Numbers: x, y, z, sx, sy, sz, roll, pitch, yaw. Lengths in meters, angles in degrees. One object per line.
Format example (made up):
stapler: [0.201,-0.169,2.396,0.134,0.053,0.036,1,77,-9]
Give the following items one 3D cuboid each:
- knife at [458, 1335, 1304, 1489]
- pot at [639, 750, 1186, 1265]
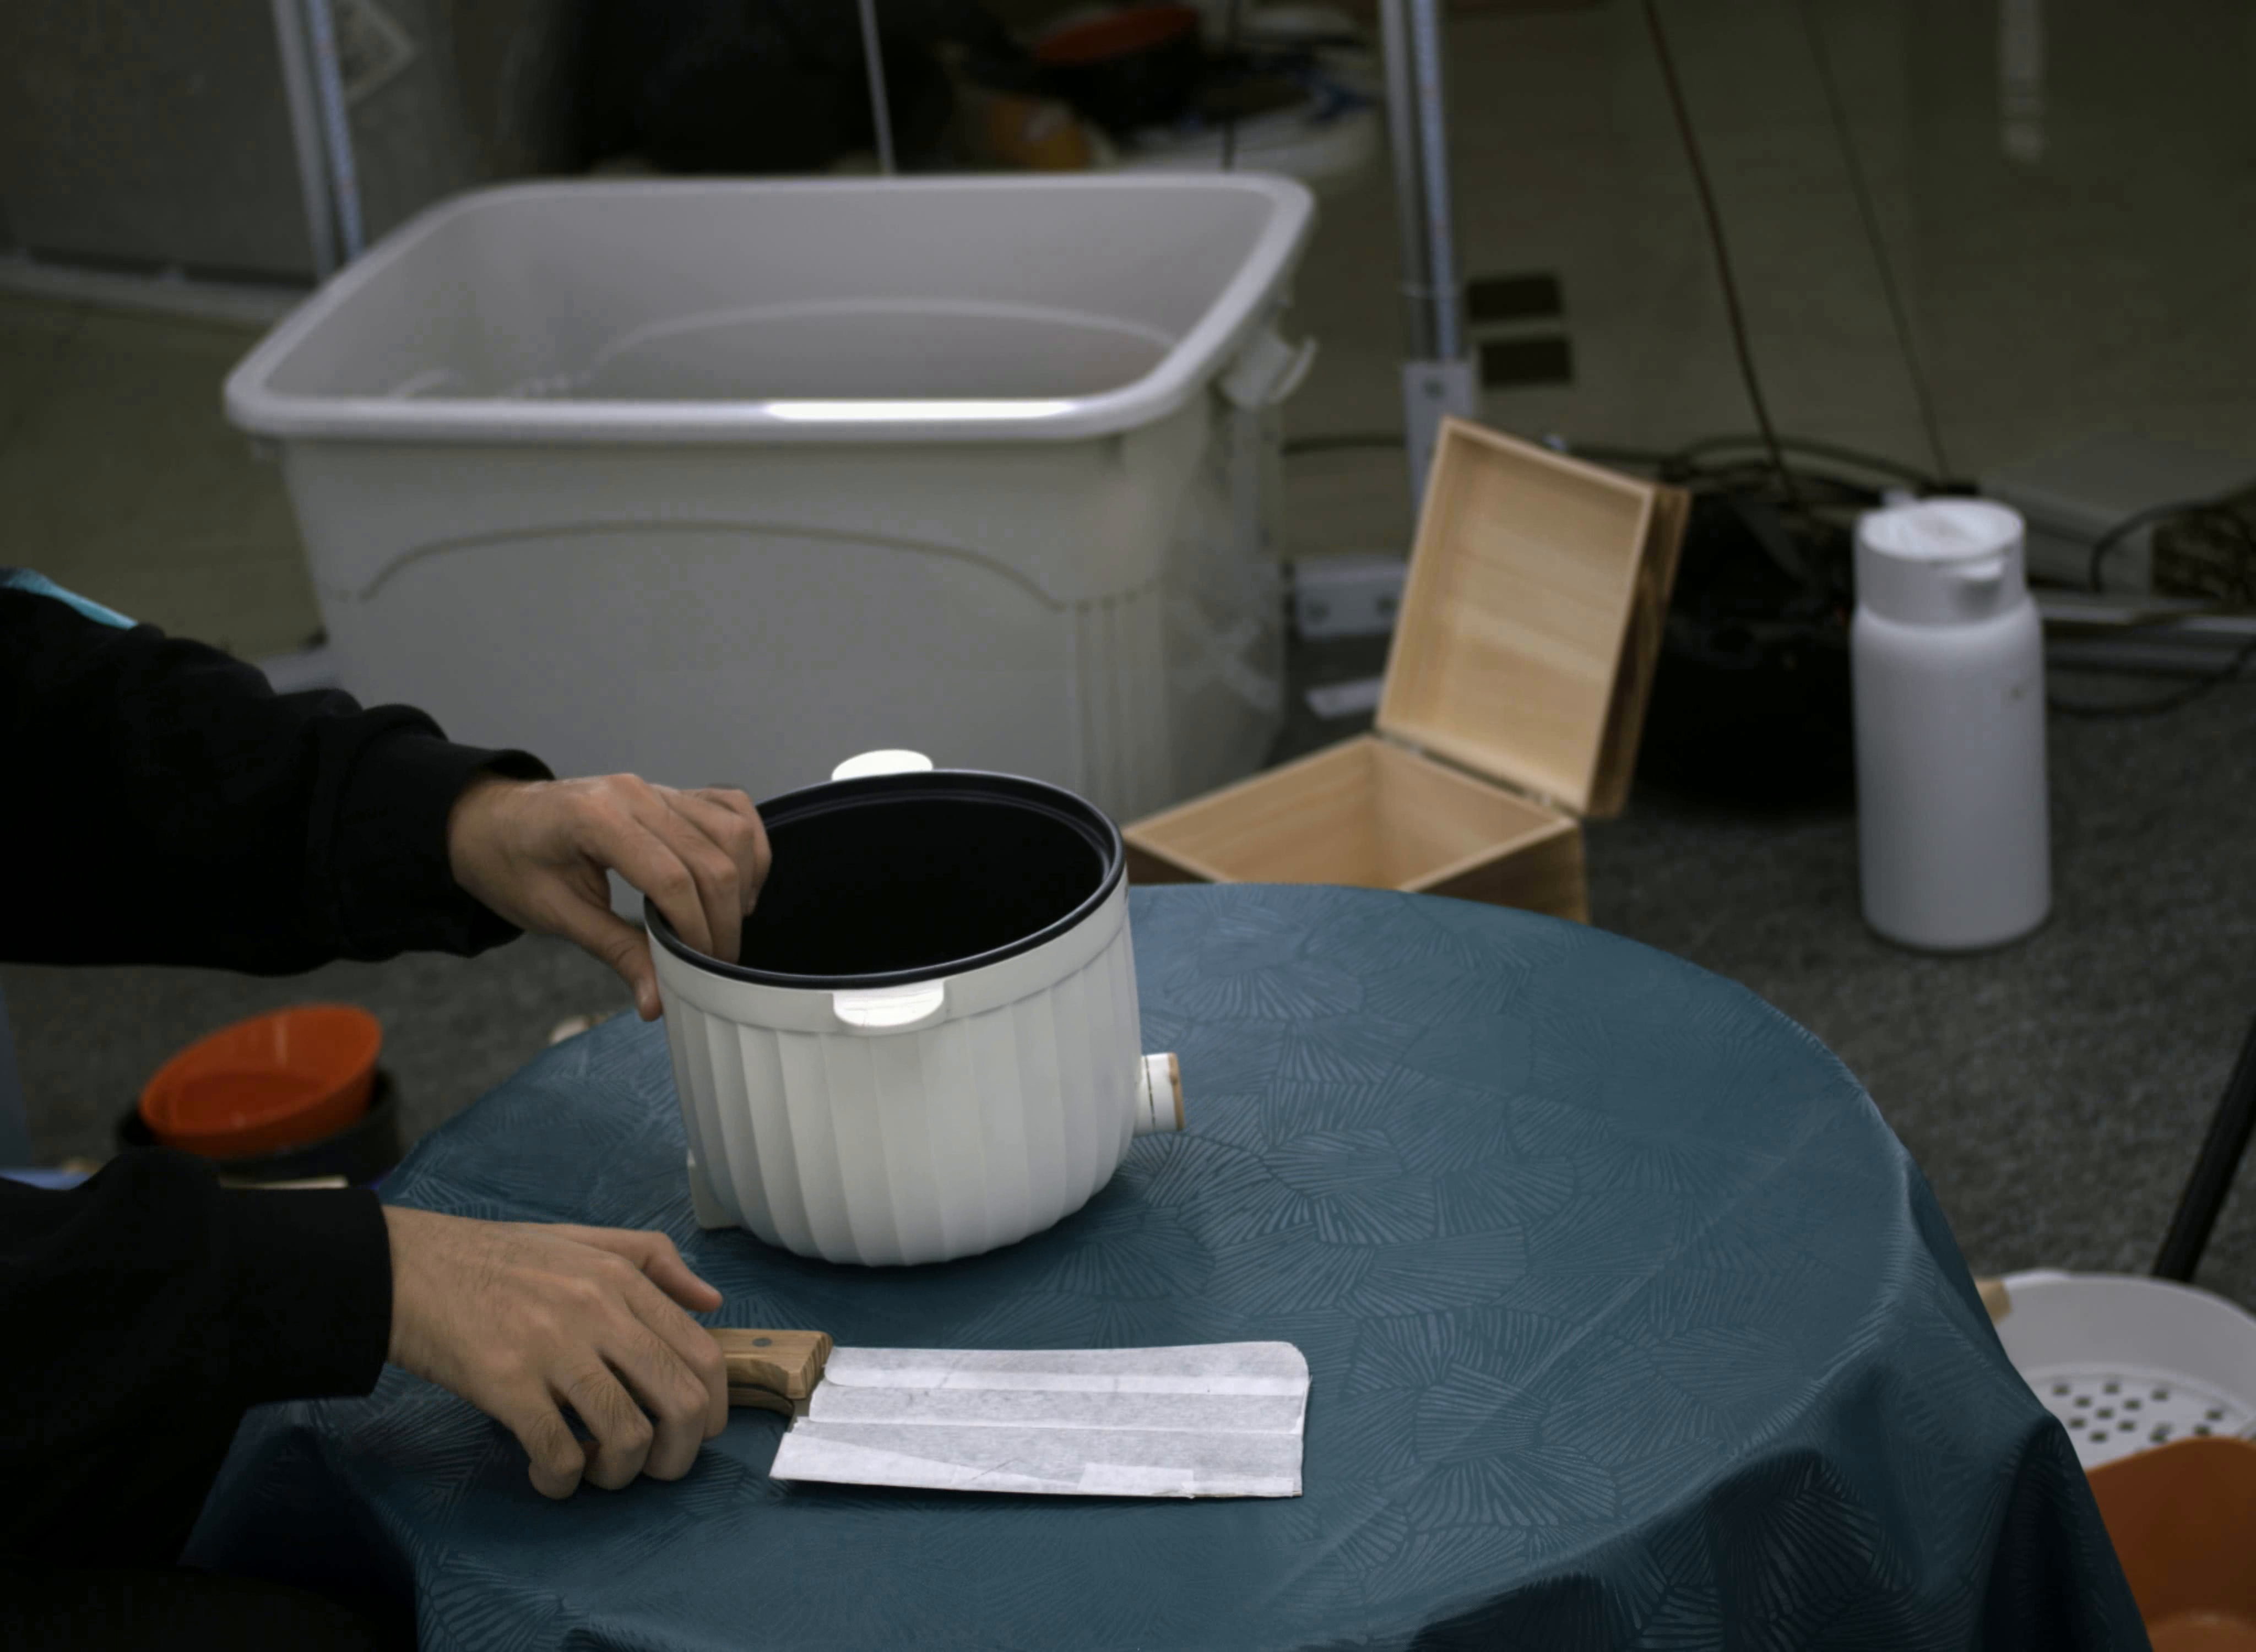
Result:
knife: [-0.086,0.203,2.009,0.315,0.022,0.112,2,26,12]
pot: [-0.079,0.075,2.137,0.190,0.145,0.237,-10,26,1]
